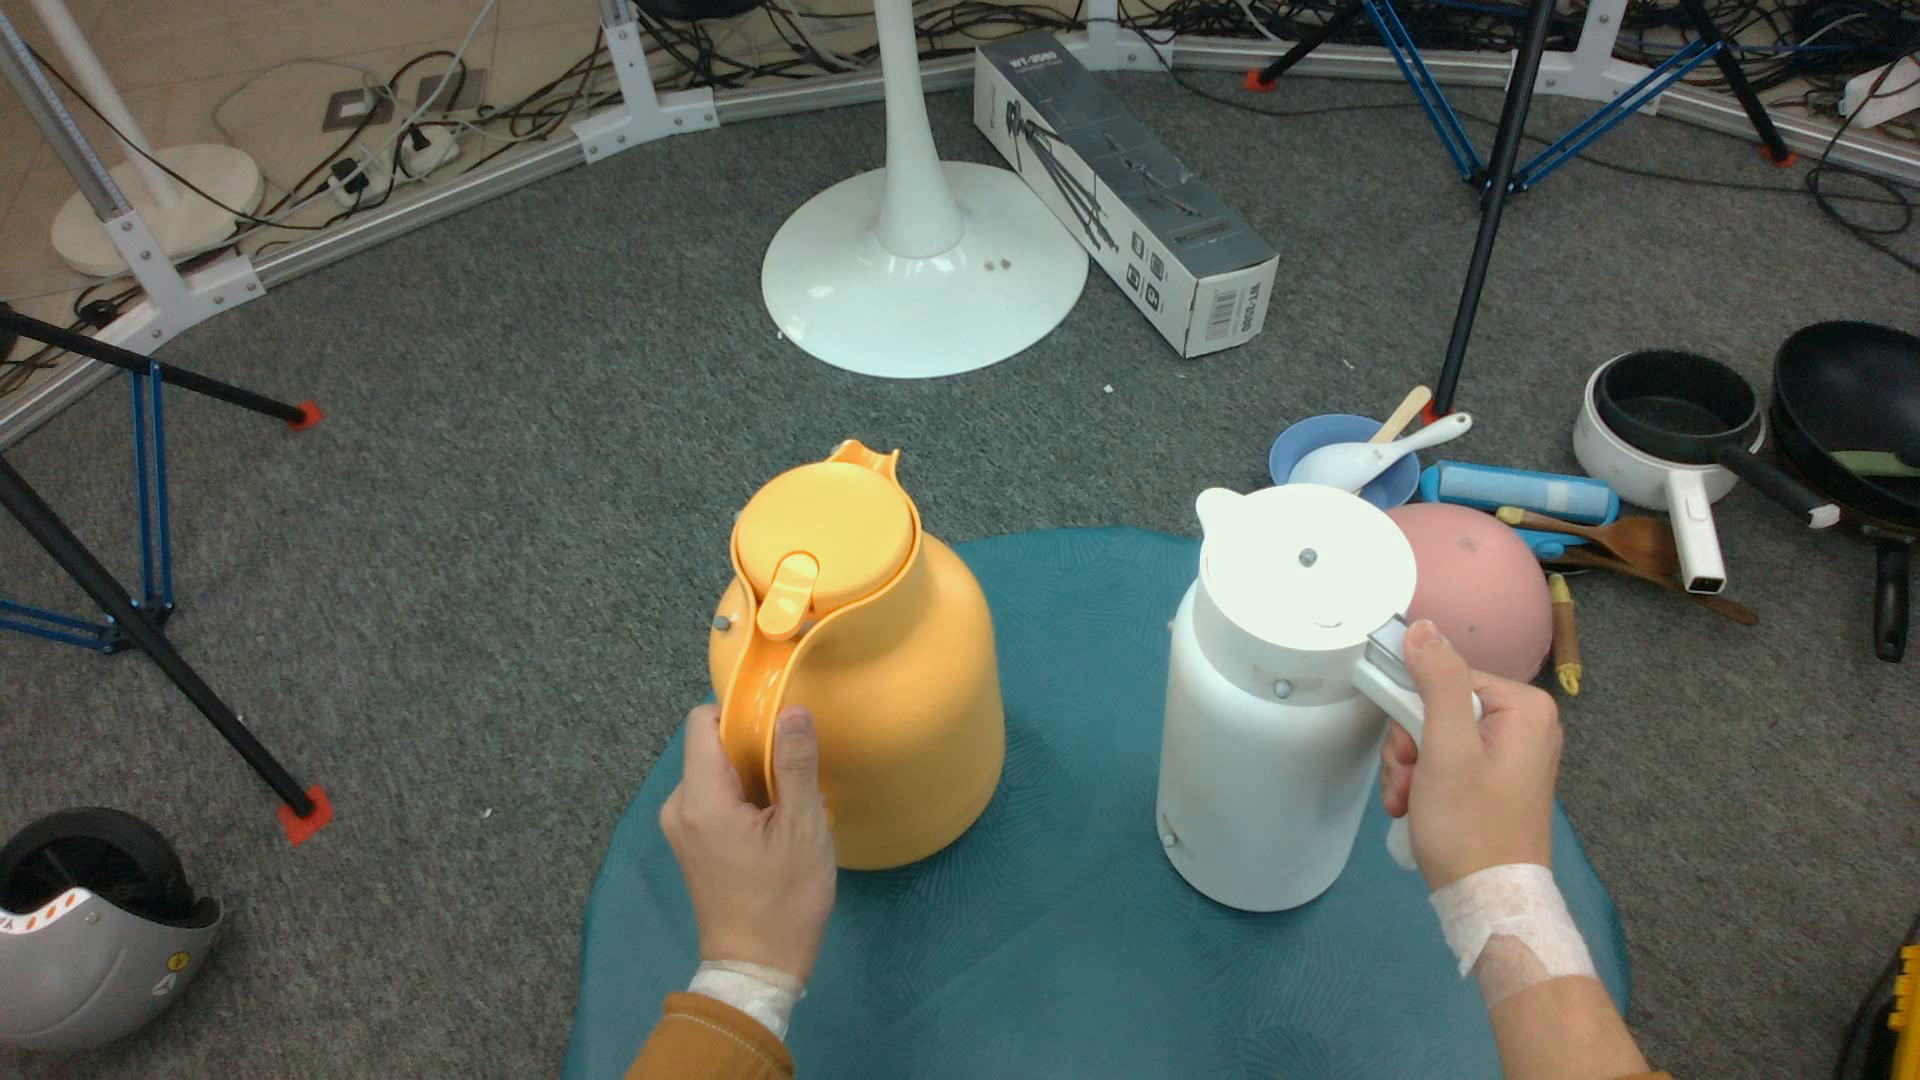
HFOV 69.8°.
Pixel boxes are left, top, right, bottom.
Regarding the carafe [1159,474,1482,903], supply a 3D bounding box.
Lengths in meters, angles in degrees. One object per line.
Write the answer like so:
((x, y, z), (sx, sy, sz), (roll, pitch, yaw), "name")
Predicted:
((0.181, 0.098, 0.735), (0.124, 0.267, 0.173), (-33, 55, -22), "carafe")

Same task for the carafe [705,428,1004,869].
((-0.070, 0.078, 0.771), (0.163, 0.259, 0.203), (13, 52, 18), "carafe")
